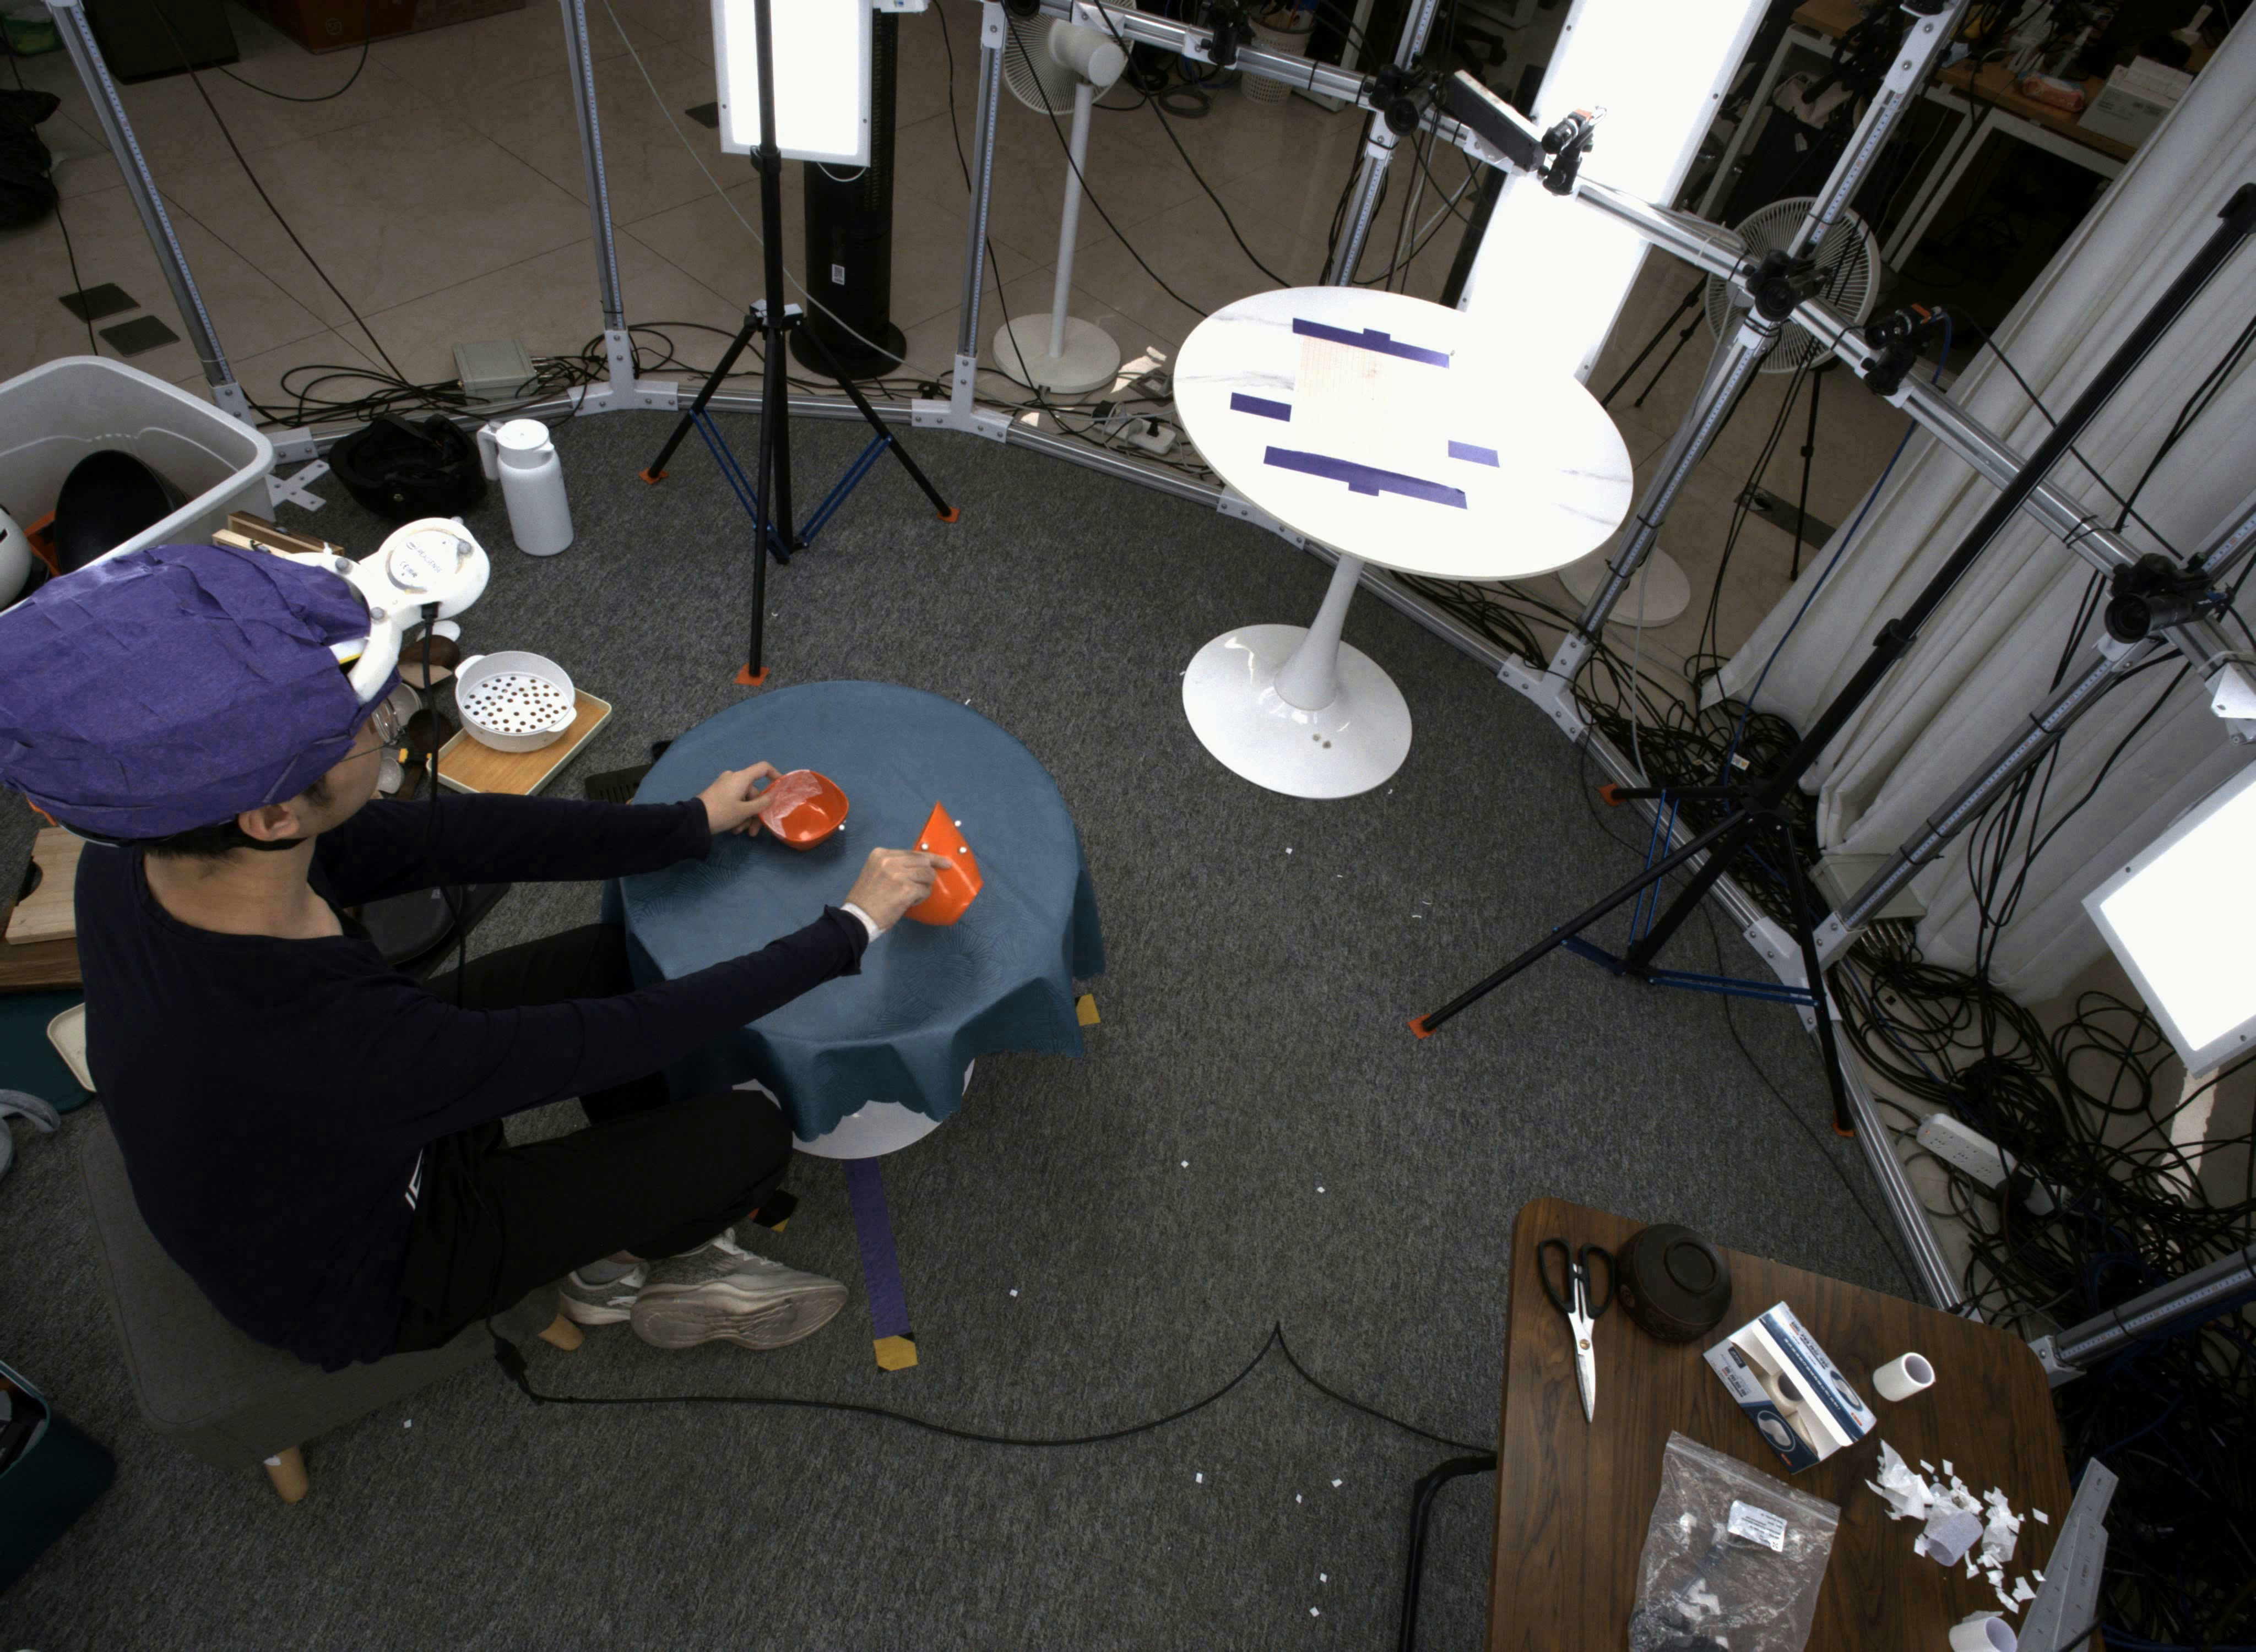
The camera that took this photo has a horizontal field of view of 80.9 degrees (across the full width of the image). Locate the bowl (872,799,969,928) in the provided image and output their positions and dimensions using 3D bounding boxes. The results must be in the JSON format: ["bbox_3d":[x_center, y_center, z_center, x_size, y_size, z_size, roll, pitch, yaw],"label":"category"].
[{"bbox_3d":[-0.250,0.058,1.609,0.106,0.148,0.147,35,51,-10],"label":"bowl"}]

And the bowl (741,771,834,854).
[{"bbox_3d":[-0.447,-0.010,1.704,0.119,0.052,0.117,9,53,-10],"label":"bowl"}]
